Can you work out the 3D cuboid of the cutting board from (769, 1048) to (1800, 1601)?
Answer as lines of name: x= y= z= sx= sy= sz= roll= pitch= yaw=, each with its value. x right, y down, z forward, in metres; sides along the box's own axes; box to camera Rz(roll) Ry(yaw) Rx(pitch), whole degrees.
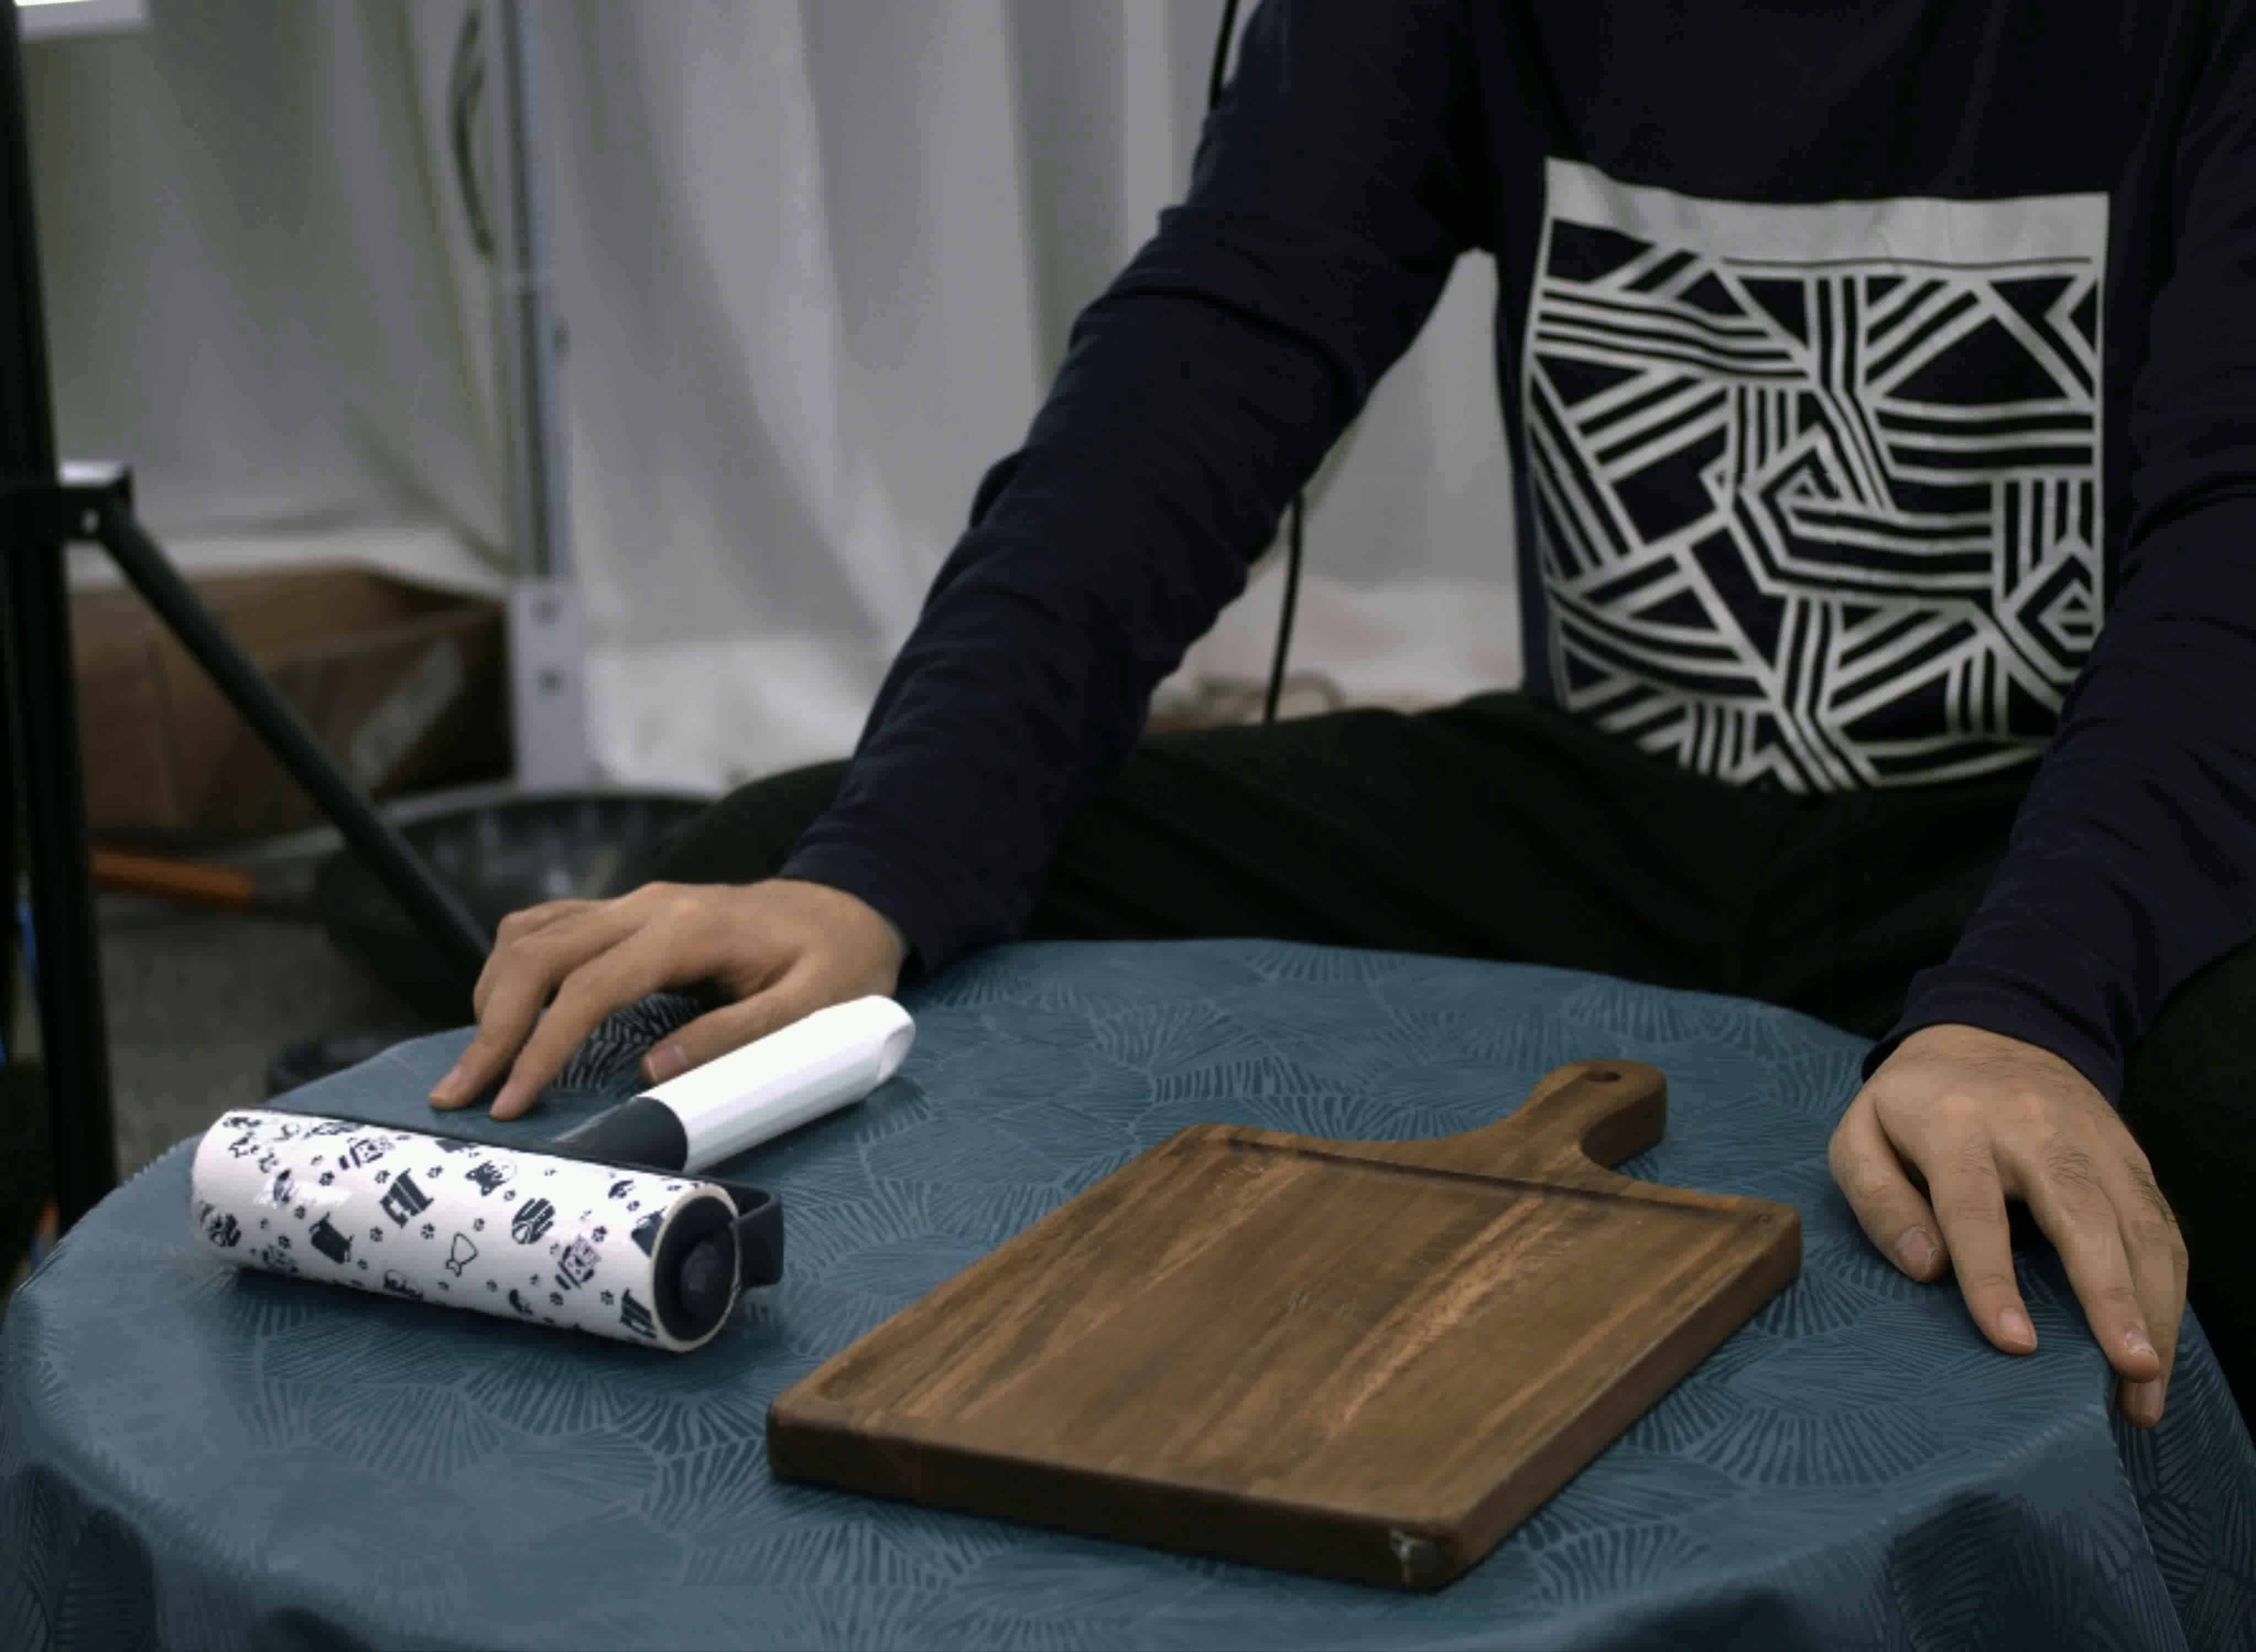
cutting board: x=0.070 y=0.123 z=1.457 sx=0.204 sy=0.023 sz=0.346 roll=6 pitch=18 yaw=27

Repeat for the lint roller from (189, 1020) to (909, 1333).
lint roller: x=-0.137 y=0.088 z=1.577 sx=0.179 sy=0.050 sz=0.242 roll=6 pitch=15 yaw=29
